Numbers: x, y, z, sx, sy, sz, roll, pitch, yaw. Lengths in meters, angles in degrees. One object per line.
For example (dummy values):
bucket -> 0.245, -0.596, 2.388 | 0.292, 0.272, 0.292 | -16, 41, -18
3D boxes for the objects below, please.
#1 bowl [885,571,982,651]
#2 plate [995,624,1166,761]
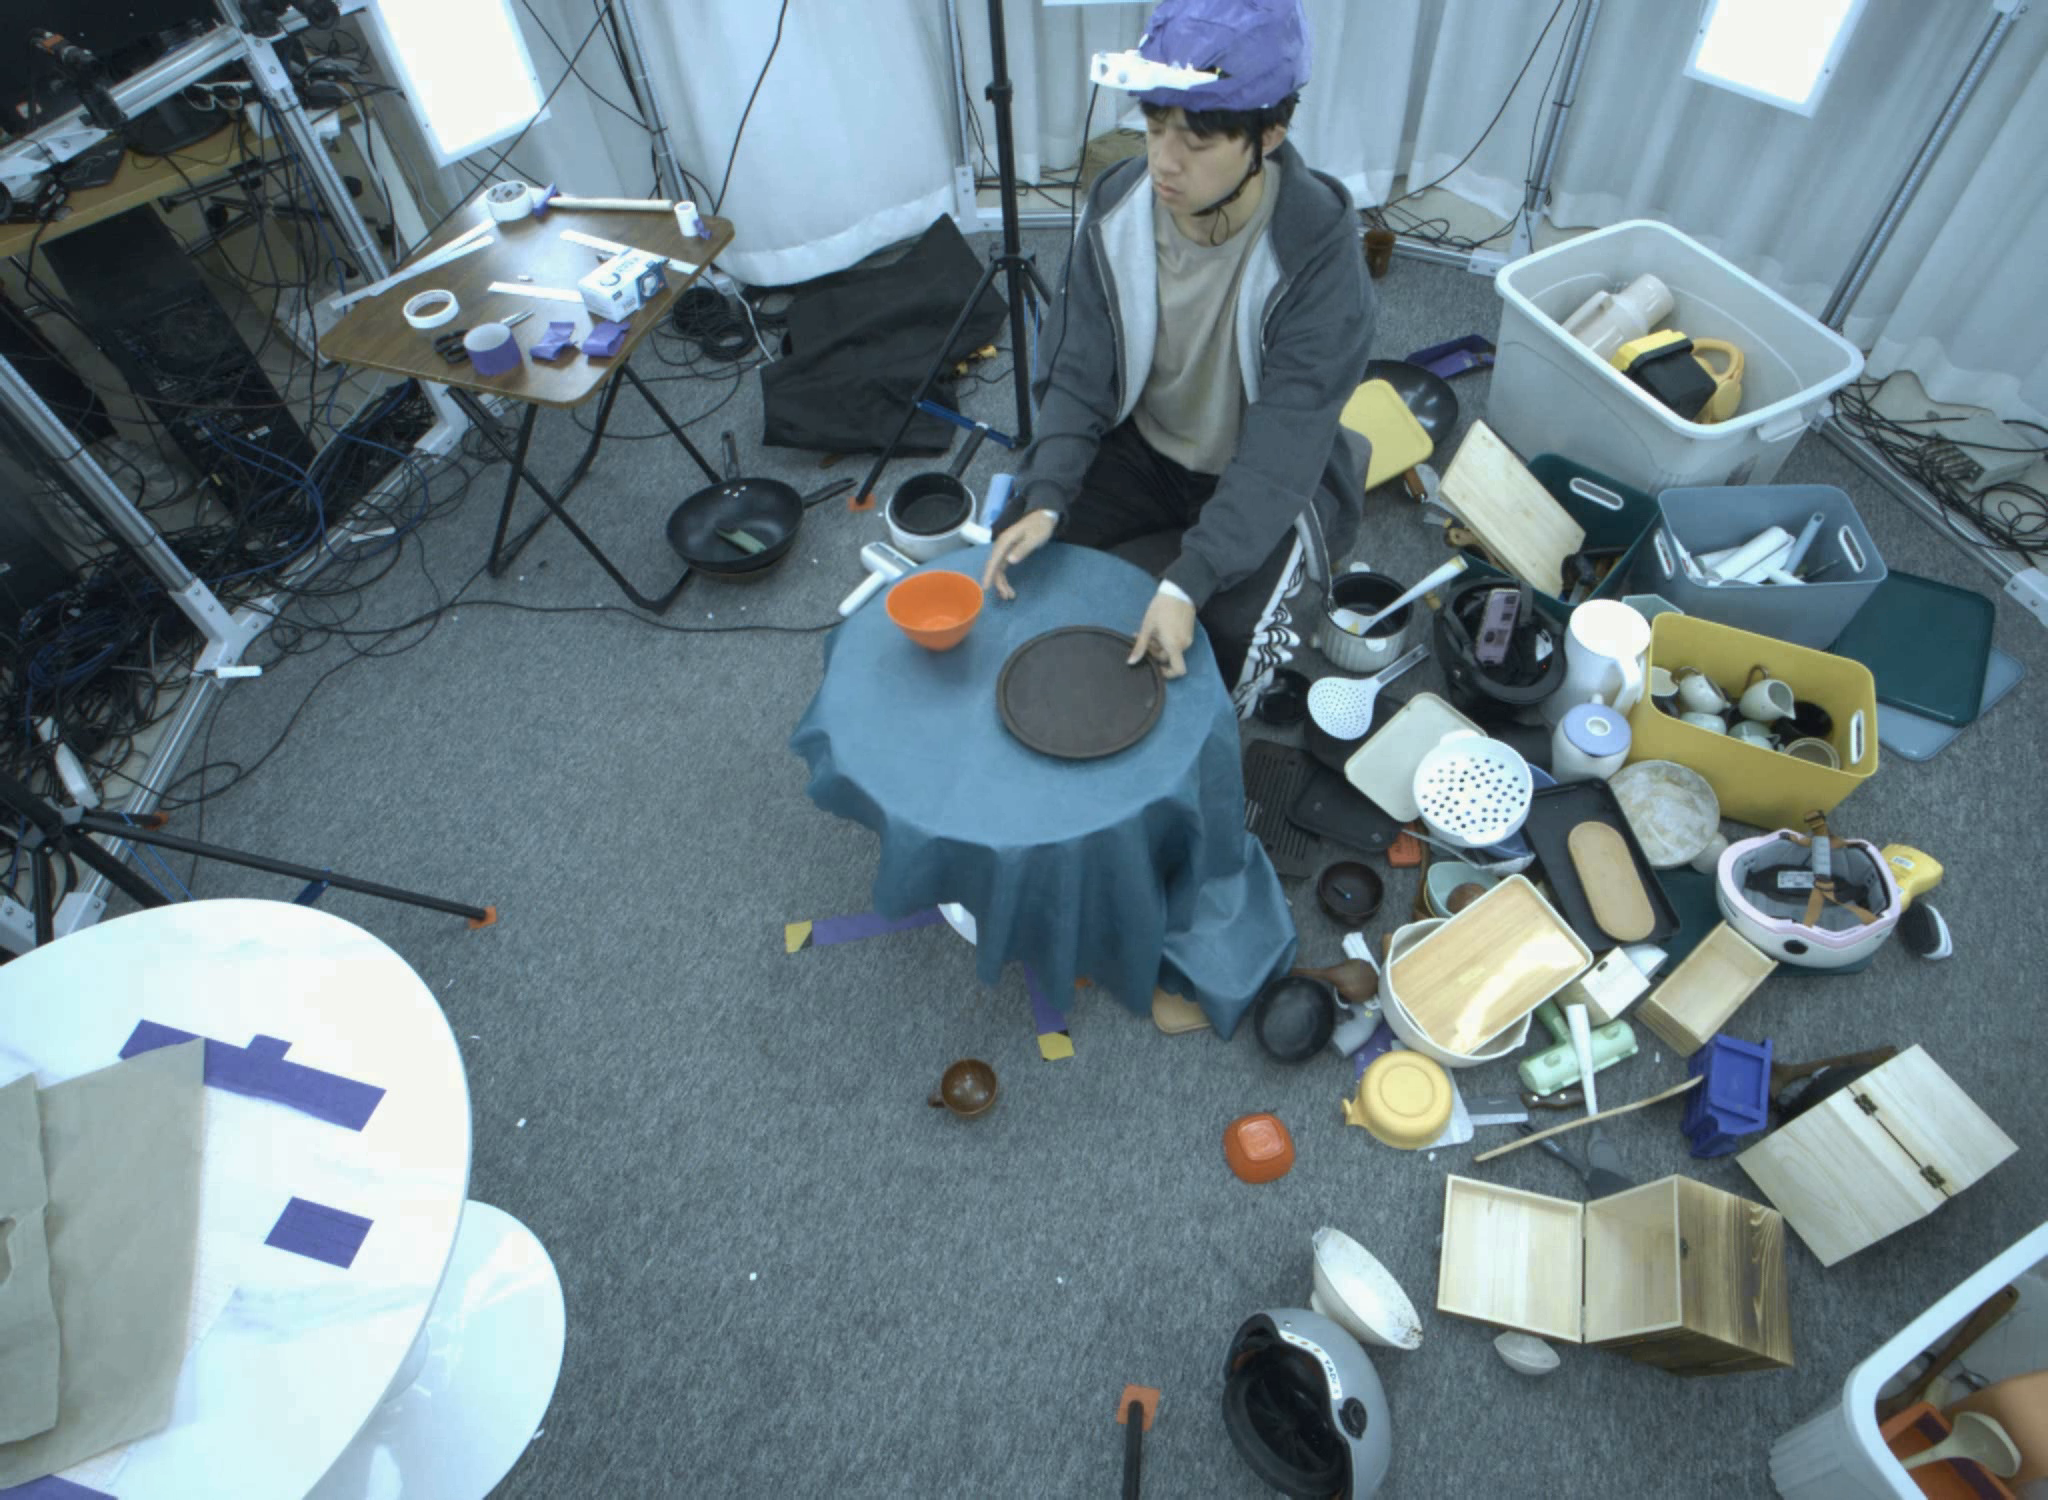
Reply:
bowl -> -0.133, -0.201, 1.874 | 0.148, 0.106, 0.146 | -2, 55, 4
plate -> 0.084, -0.087, 1.835 | 0.254, 0.029, 0.252 | -1, 54, 3
